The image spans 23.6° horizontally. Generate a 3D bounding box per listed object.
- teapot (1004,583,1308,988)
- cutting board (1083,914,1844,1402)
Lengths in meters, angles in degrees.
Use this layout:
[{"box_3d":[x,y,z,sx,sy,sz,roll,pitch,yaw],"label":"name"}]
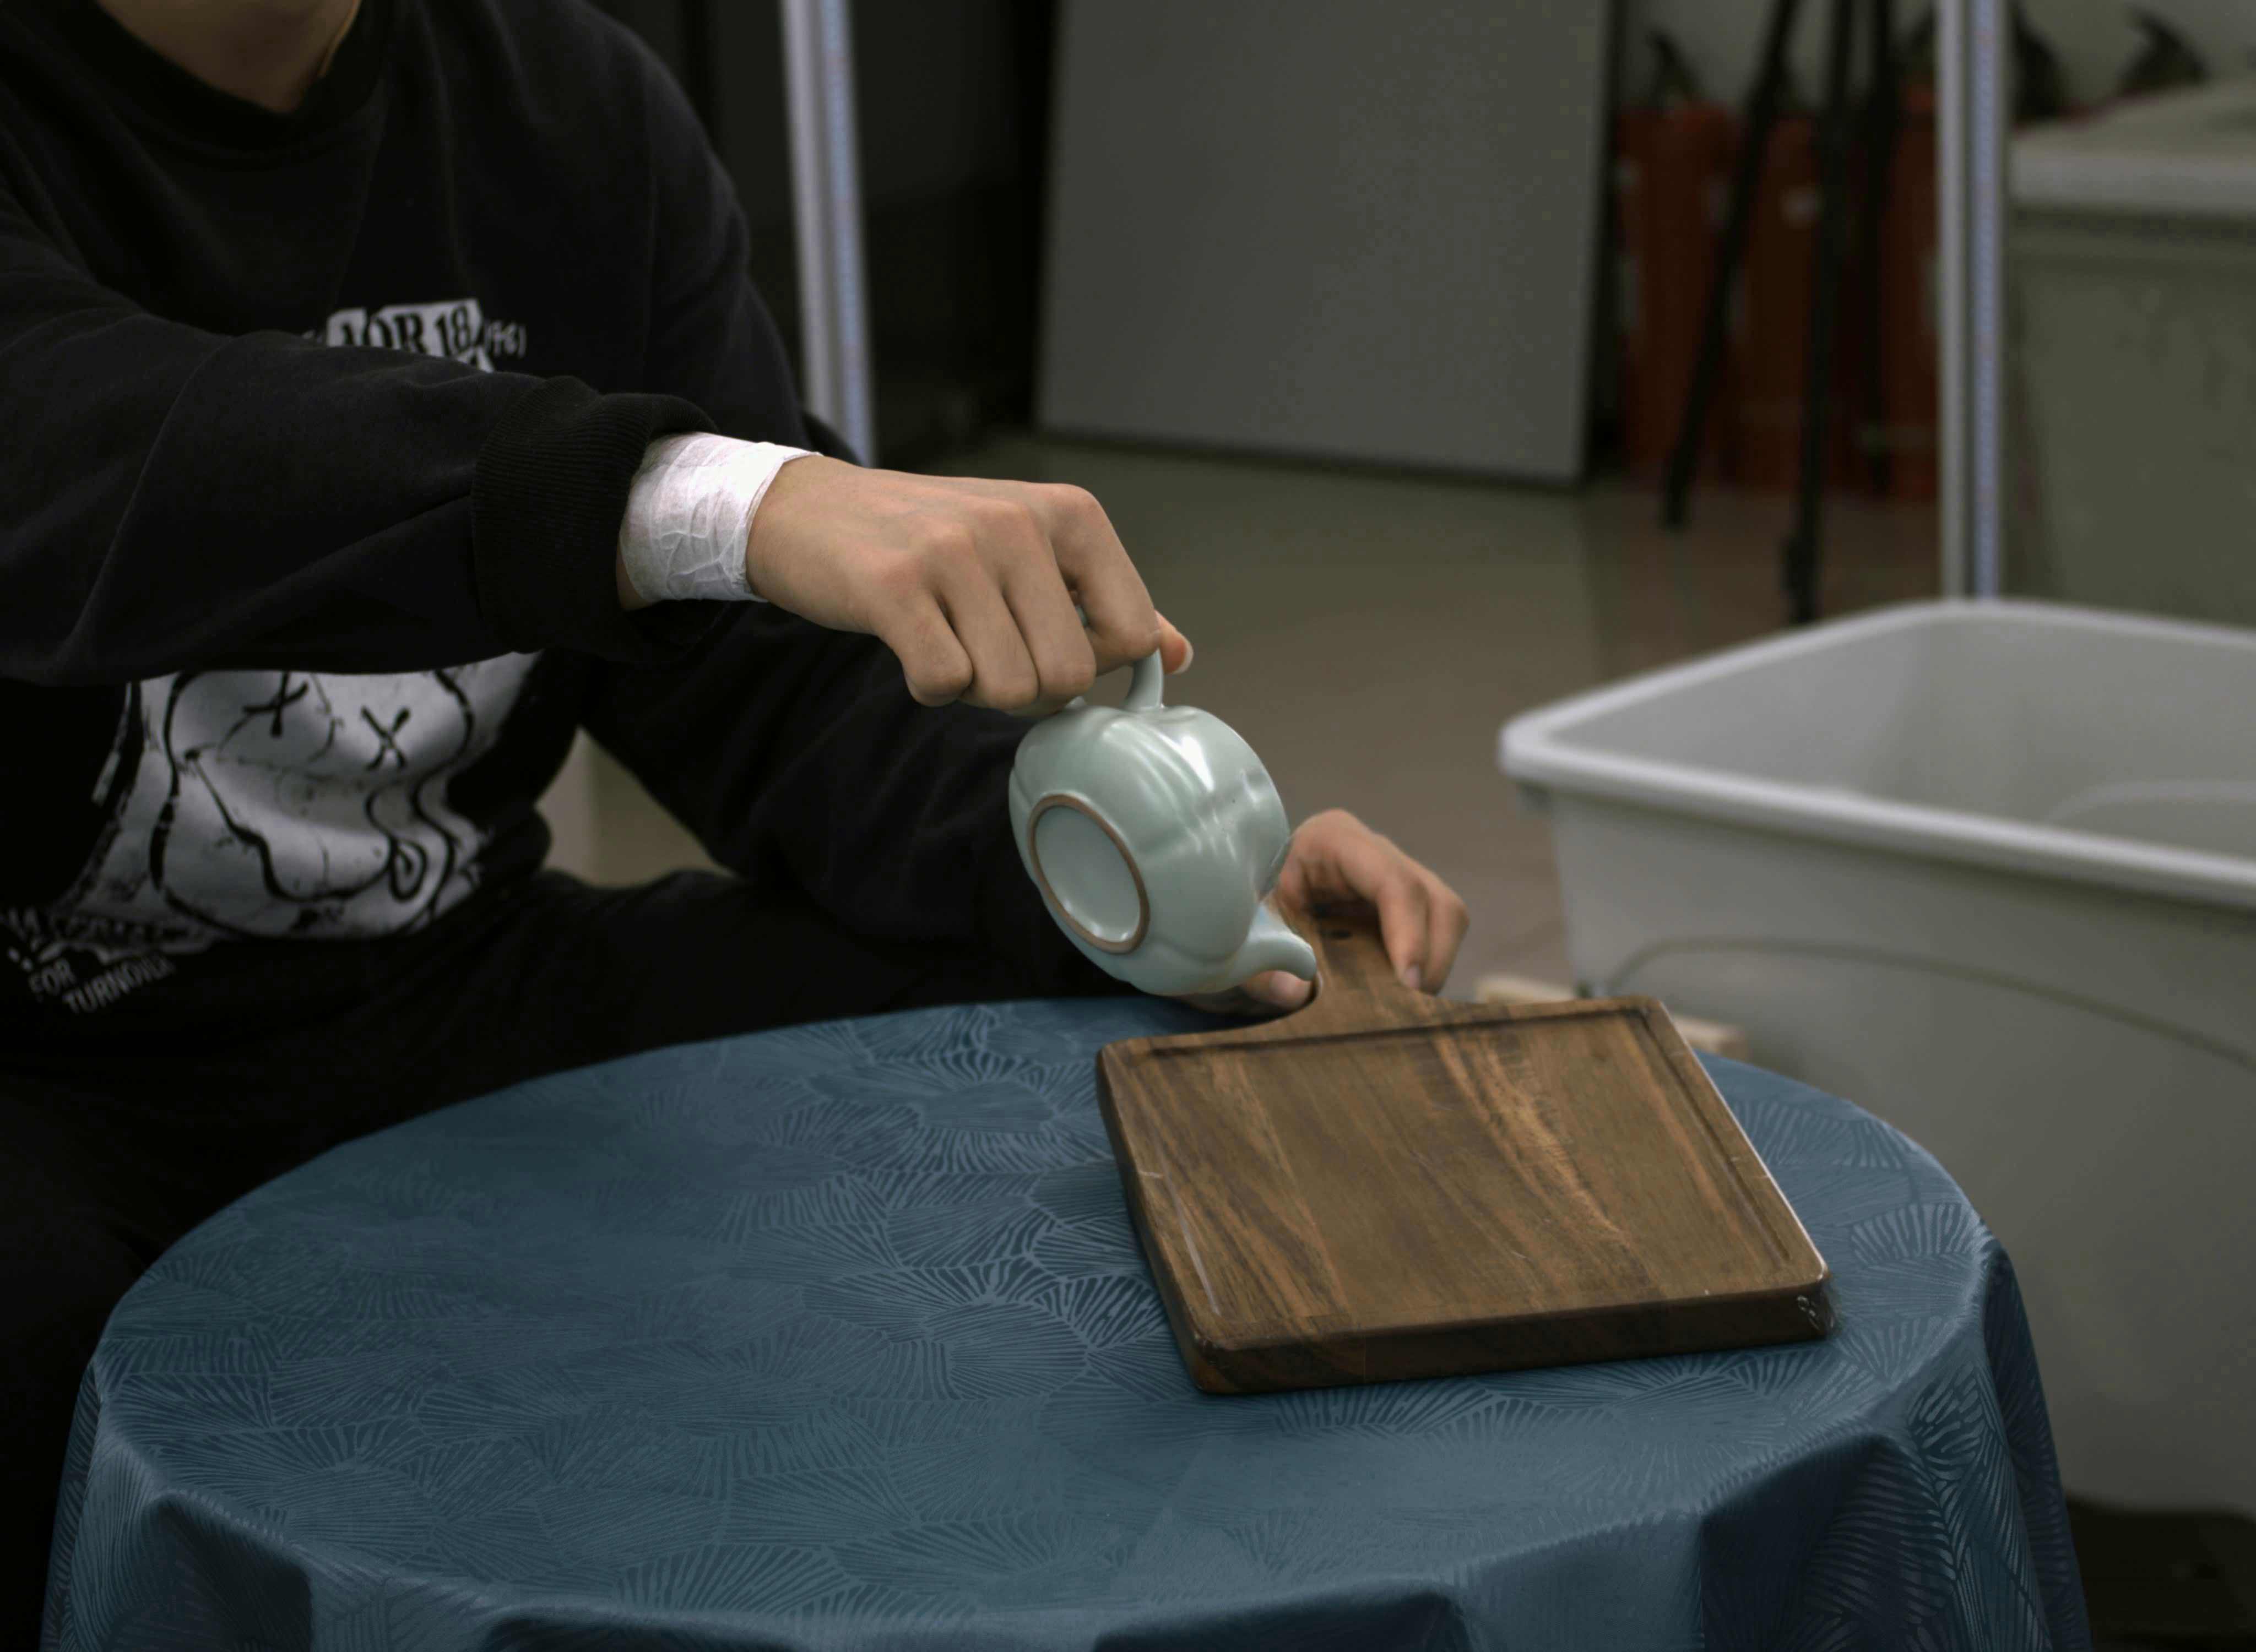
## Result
[{"box_3d":[0.006,-0.005,1.635,0.060,0.138,0.097,-30,7,-31],"label":"teapot"},{"box_3d":[0.092,0.096,1.742,0.198,0.023,0.354,-6,19,-6],"label":"cutting board"}]
